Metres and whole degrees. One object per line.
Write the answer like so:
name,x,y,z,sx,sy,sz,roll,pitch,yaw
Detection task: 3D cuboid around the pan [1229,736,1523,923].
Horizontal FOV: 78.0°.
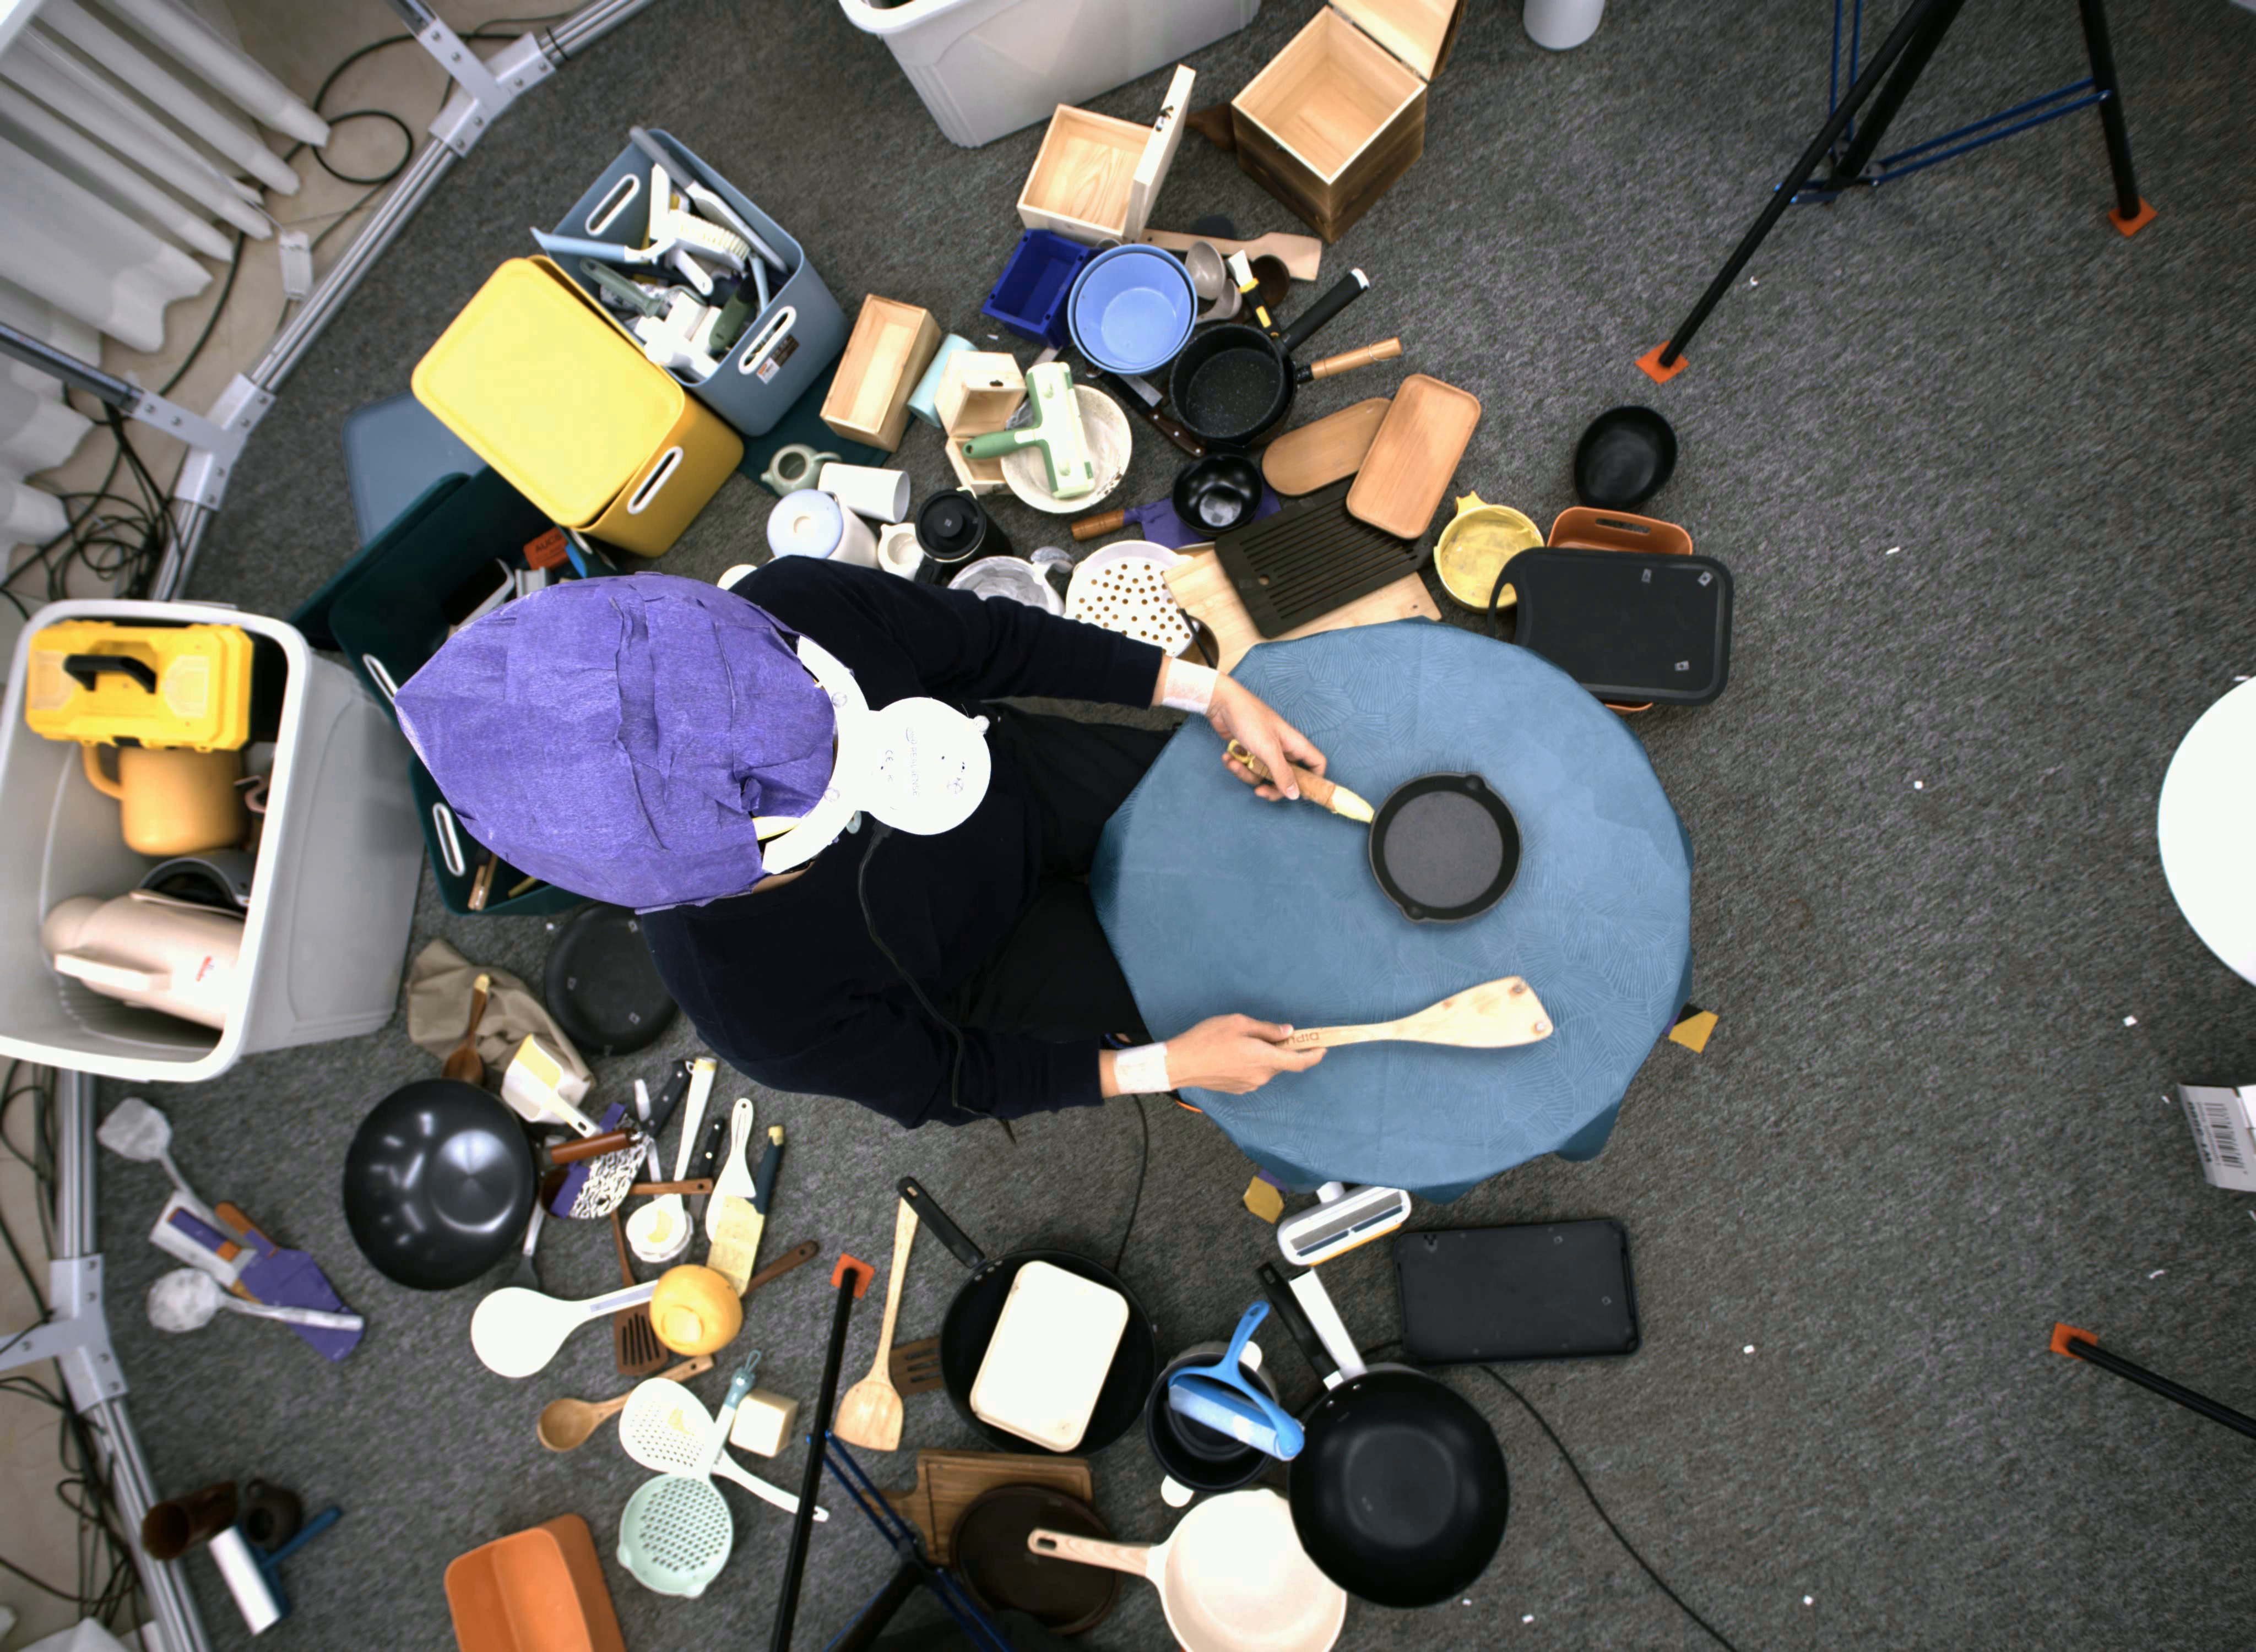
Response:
pan,0.254,-0.017,1.441,0.324,0.049,0.169,27,92,9

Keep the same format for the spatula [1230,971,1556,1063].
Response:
spatula,0.265,0.202,1.412,0.328,0.017,0.078,-9,47,2
